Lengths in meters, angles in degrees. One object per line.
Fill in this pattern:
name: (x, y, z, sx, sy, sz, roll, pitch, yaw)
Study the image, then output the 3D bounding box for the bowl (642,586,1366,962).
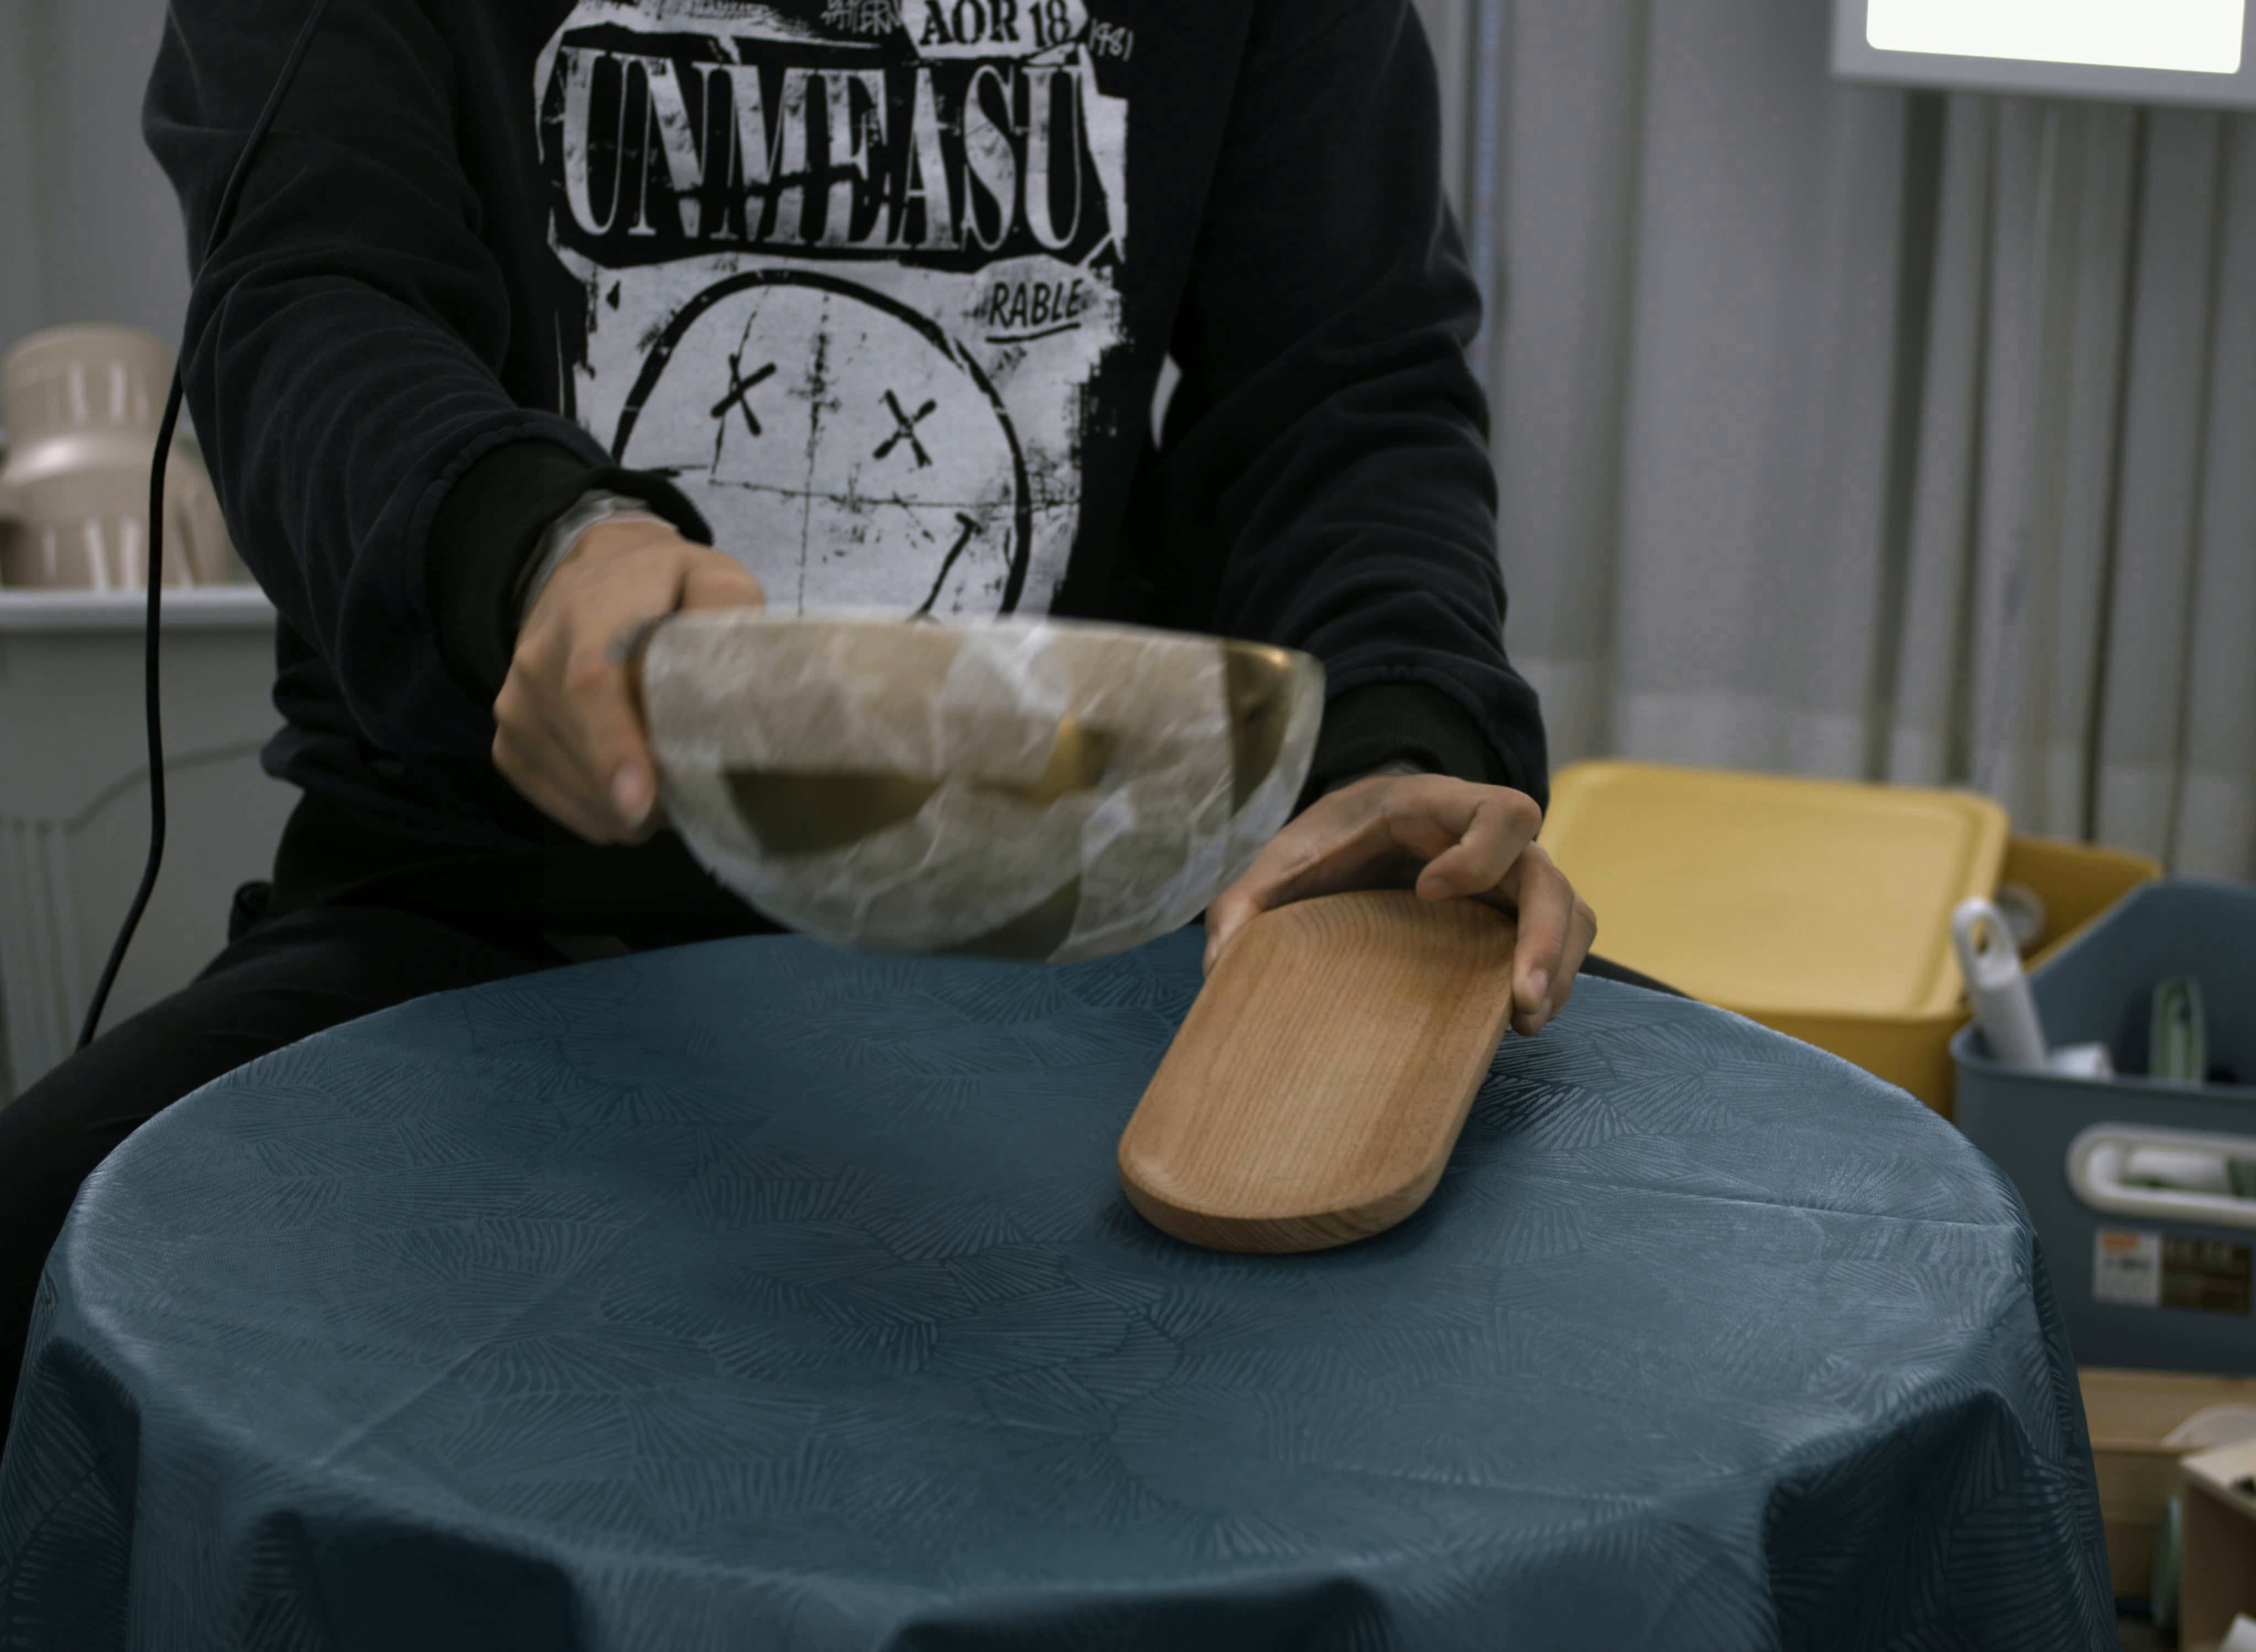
bowl: (-0.039, -0.010, 1.504, 0.214, 0.095, 0.215, 4, -5, 1)

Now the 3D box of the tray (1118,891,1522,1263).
tray: (0.063, 0.076, 1.664, 0.101, 0.020, 0.230, 1, 27, 15)
